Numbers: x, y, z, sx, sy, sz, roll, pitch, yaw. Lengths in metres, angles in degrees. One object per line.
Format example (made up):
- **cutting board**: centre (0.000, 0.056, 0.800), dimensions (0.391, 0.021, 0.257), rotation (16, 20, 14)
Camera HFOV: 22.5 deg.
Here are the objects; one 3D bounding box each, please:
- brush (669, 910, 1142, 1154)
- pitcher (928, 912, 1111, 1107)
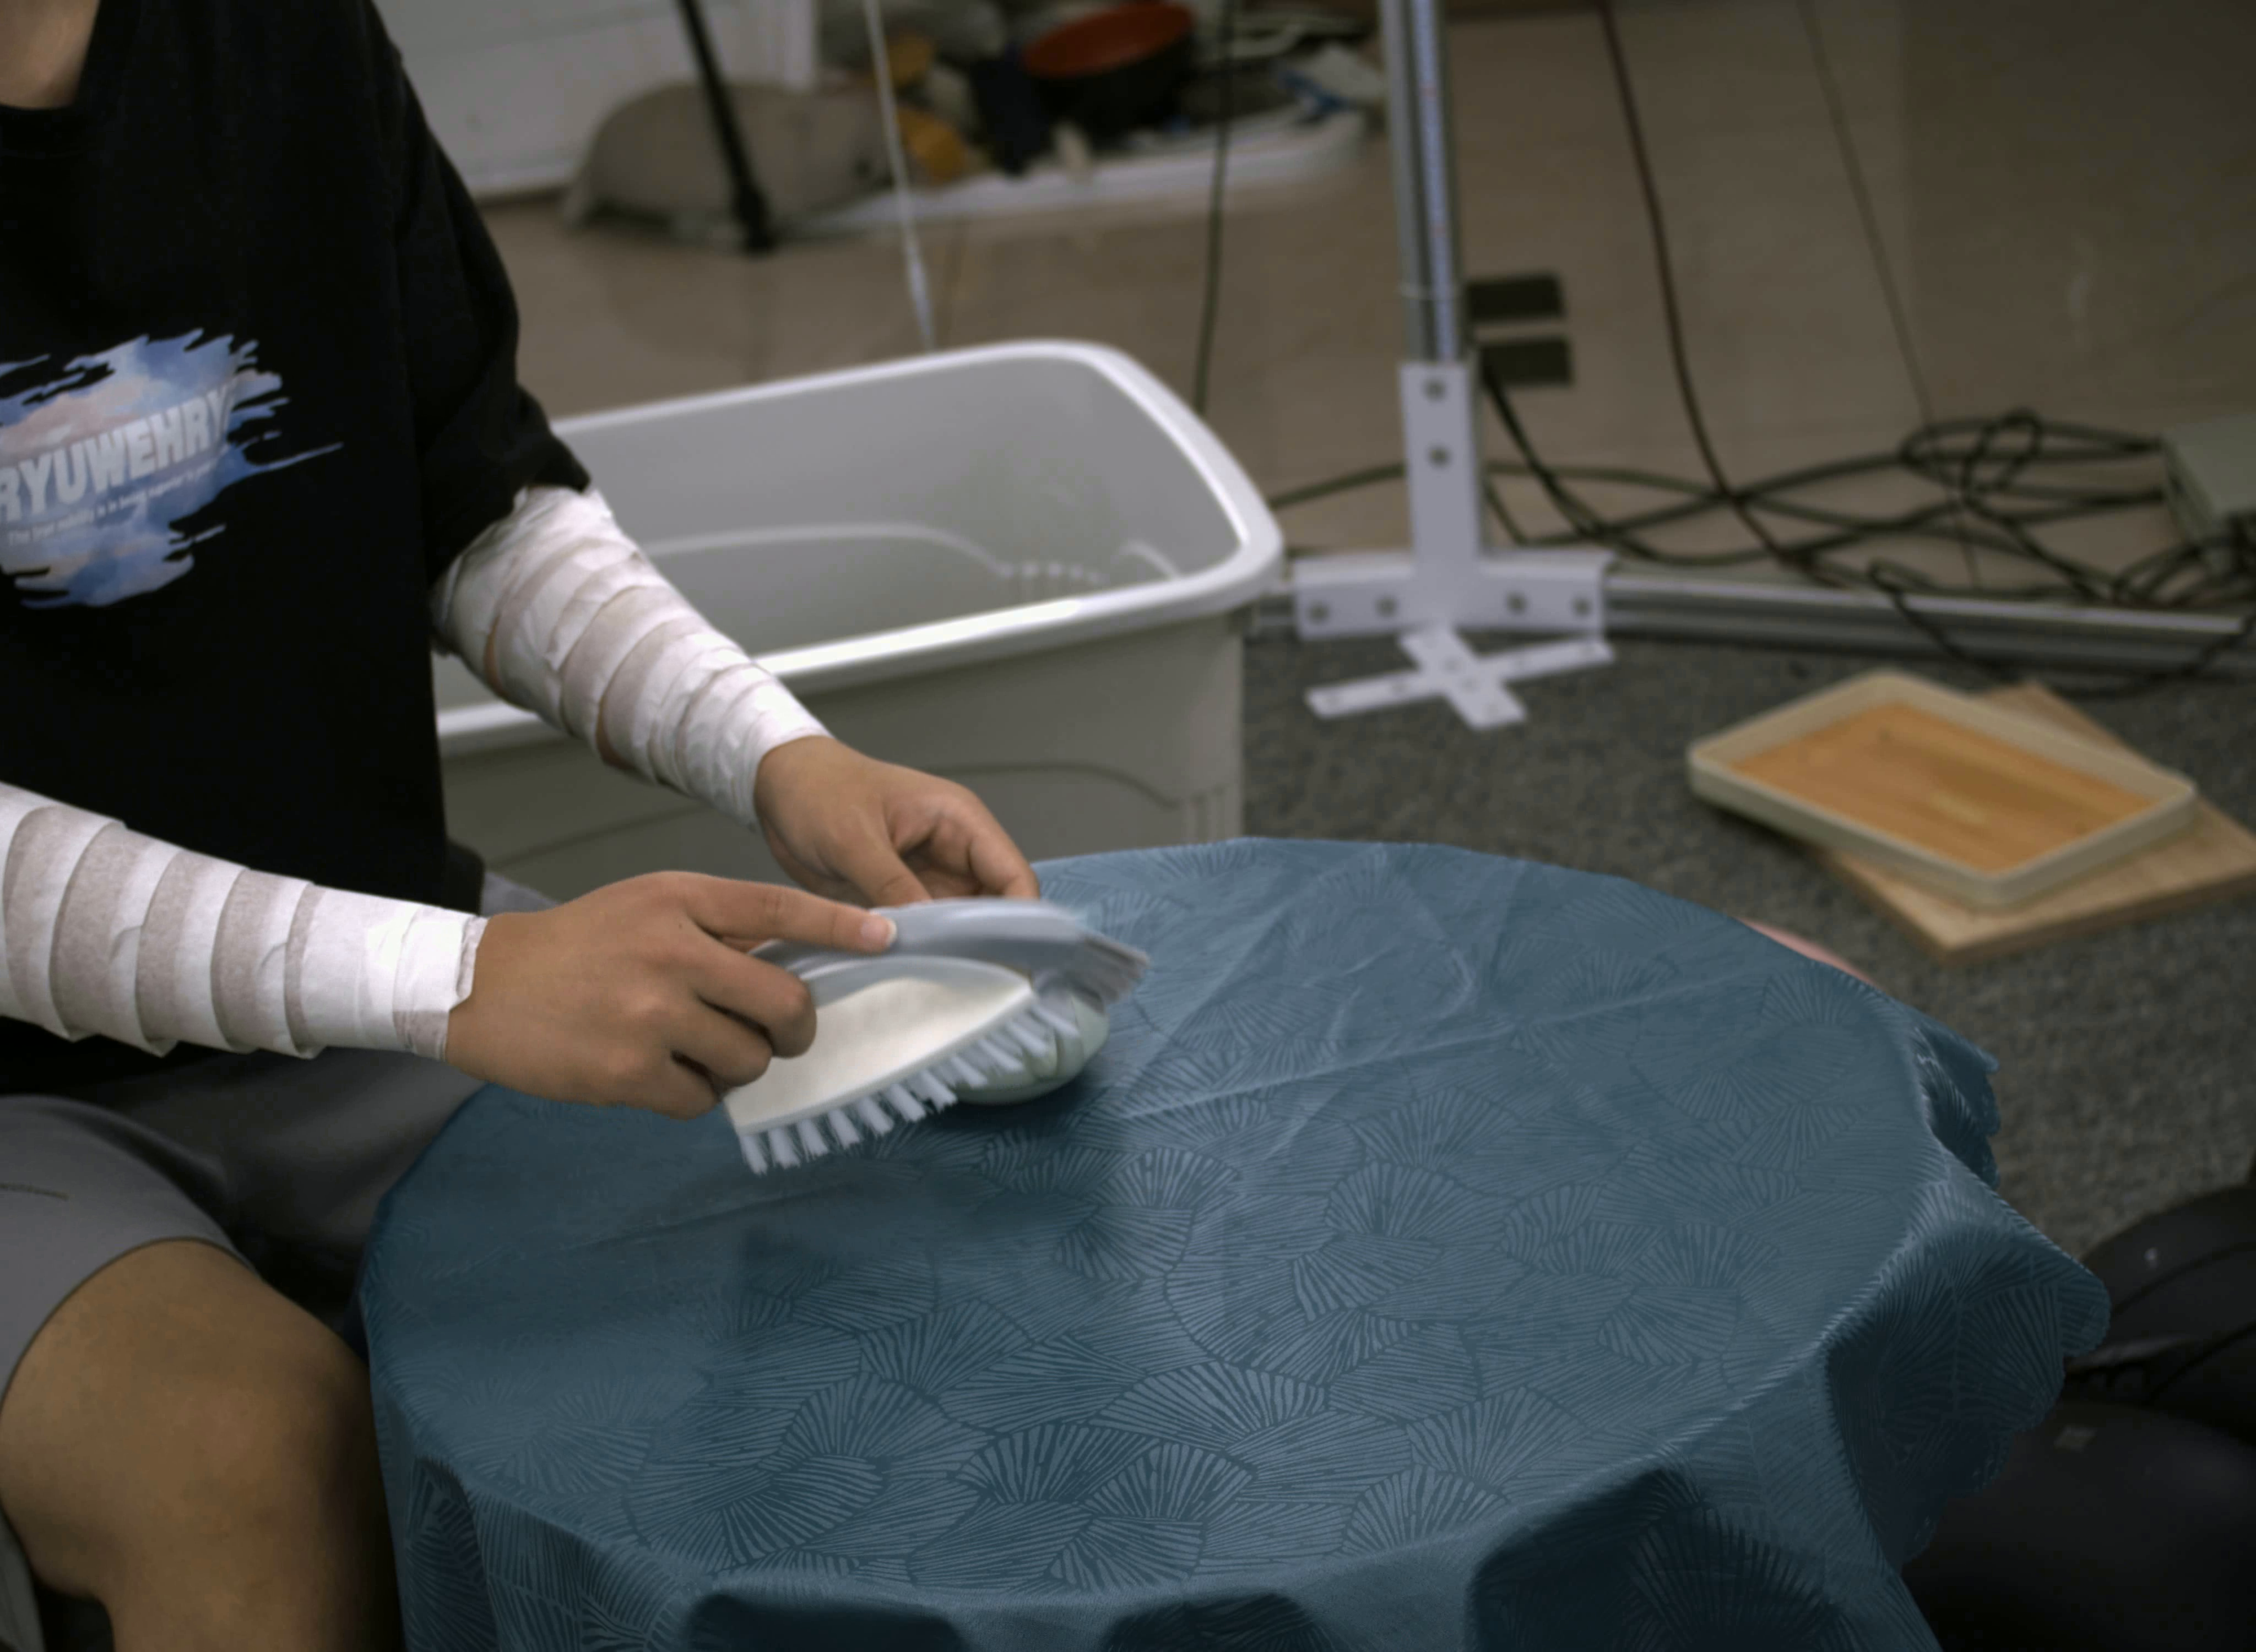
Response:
- **brush**: centre (-0.089, 0.062, 2.124), dimensions (0.176, 0.095, 0.060), rotation (-18, 58, 16)
- **pitcher**: centre (-0.044, 0.078, 2.224), dimensions (0.085, 0.061, 0.107), rotation (-20, 30, -25)
